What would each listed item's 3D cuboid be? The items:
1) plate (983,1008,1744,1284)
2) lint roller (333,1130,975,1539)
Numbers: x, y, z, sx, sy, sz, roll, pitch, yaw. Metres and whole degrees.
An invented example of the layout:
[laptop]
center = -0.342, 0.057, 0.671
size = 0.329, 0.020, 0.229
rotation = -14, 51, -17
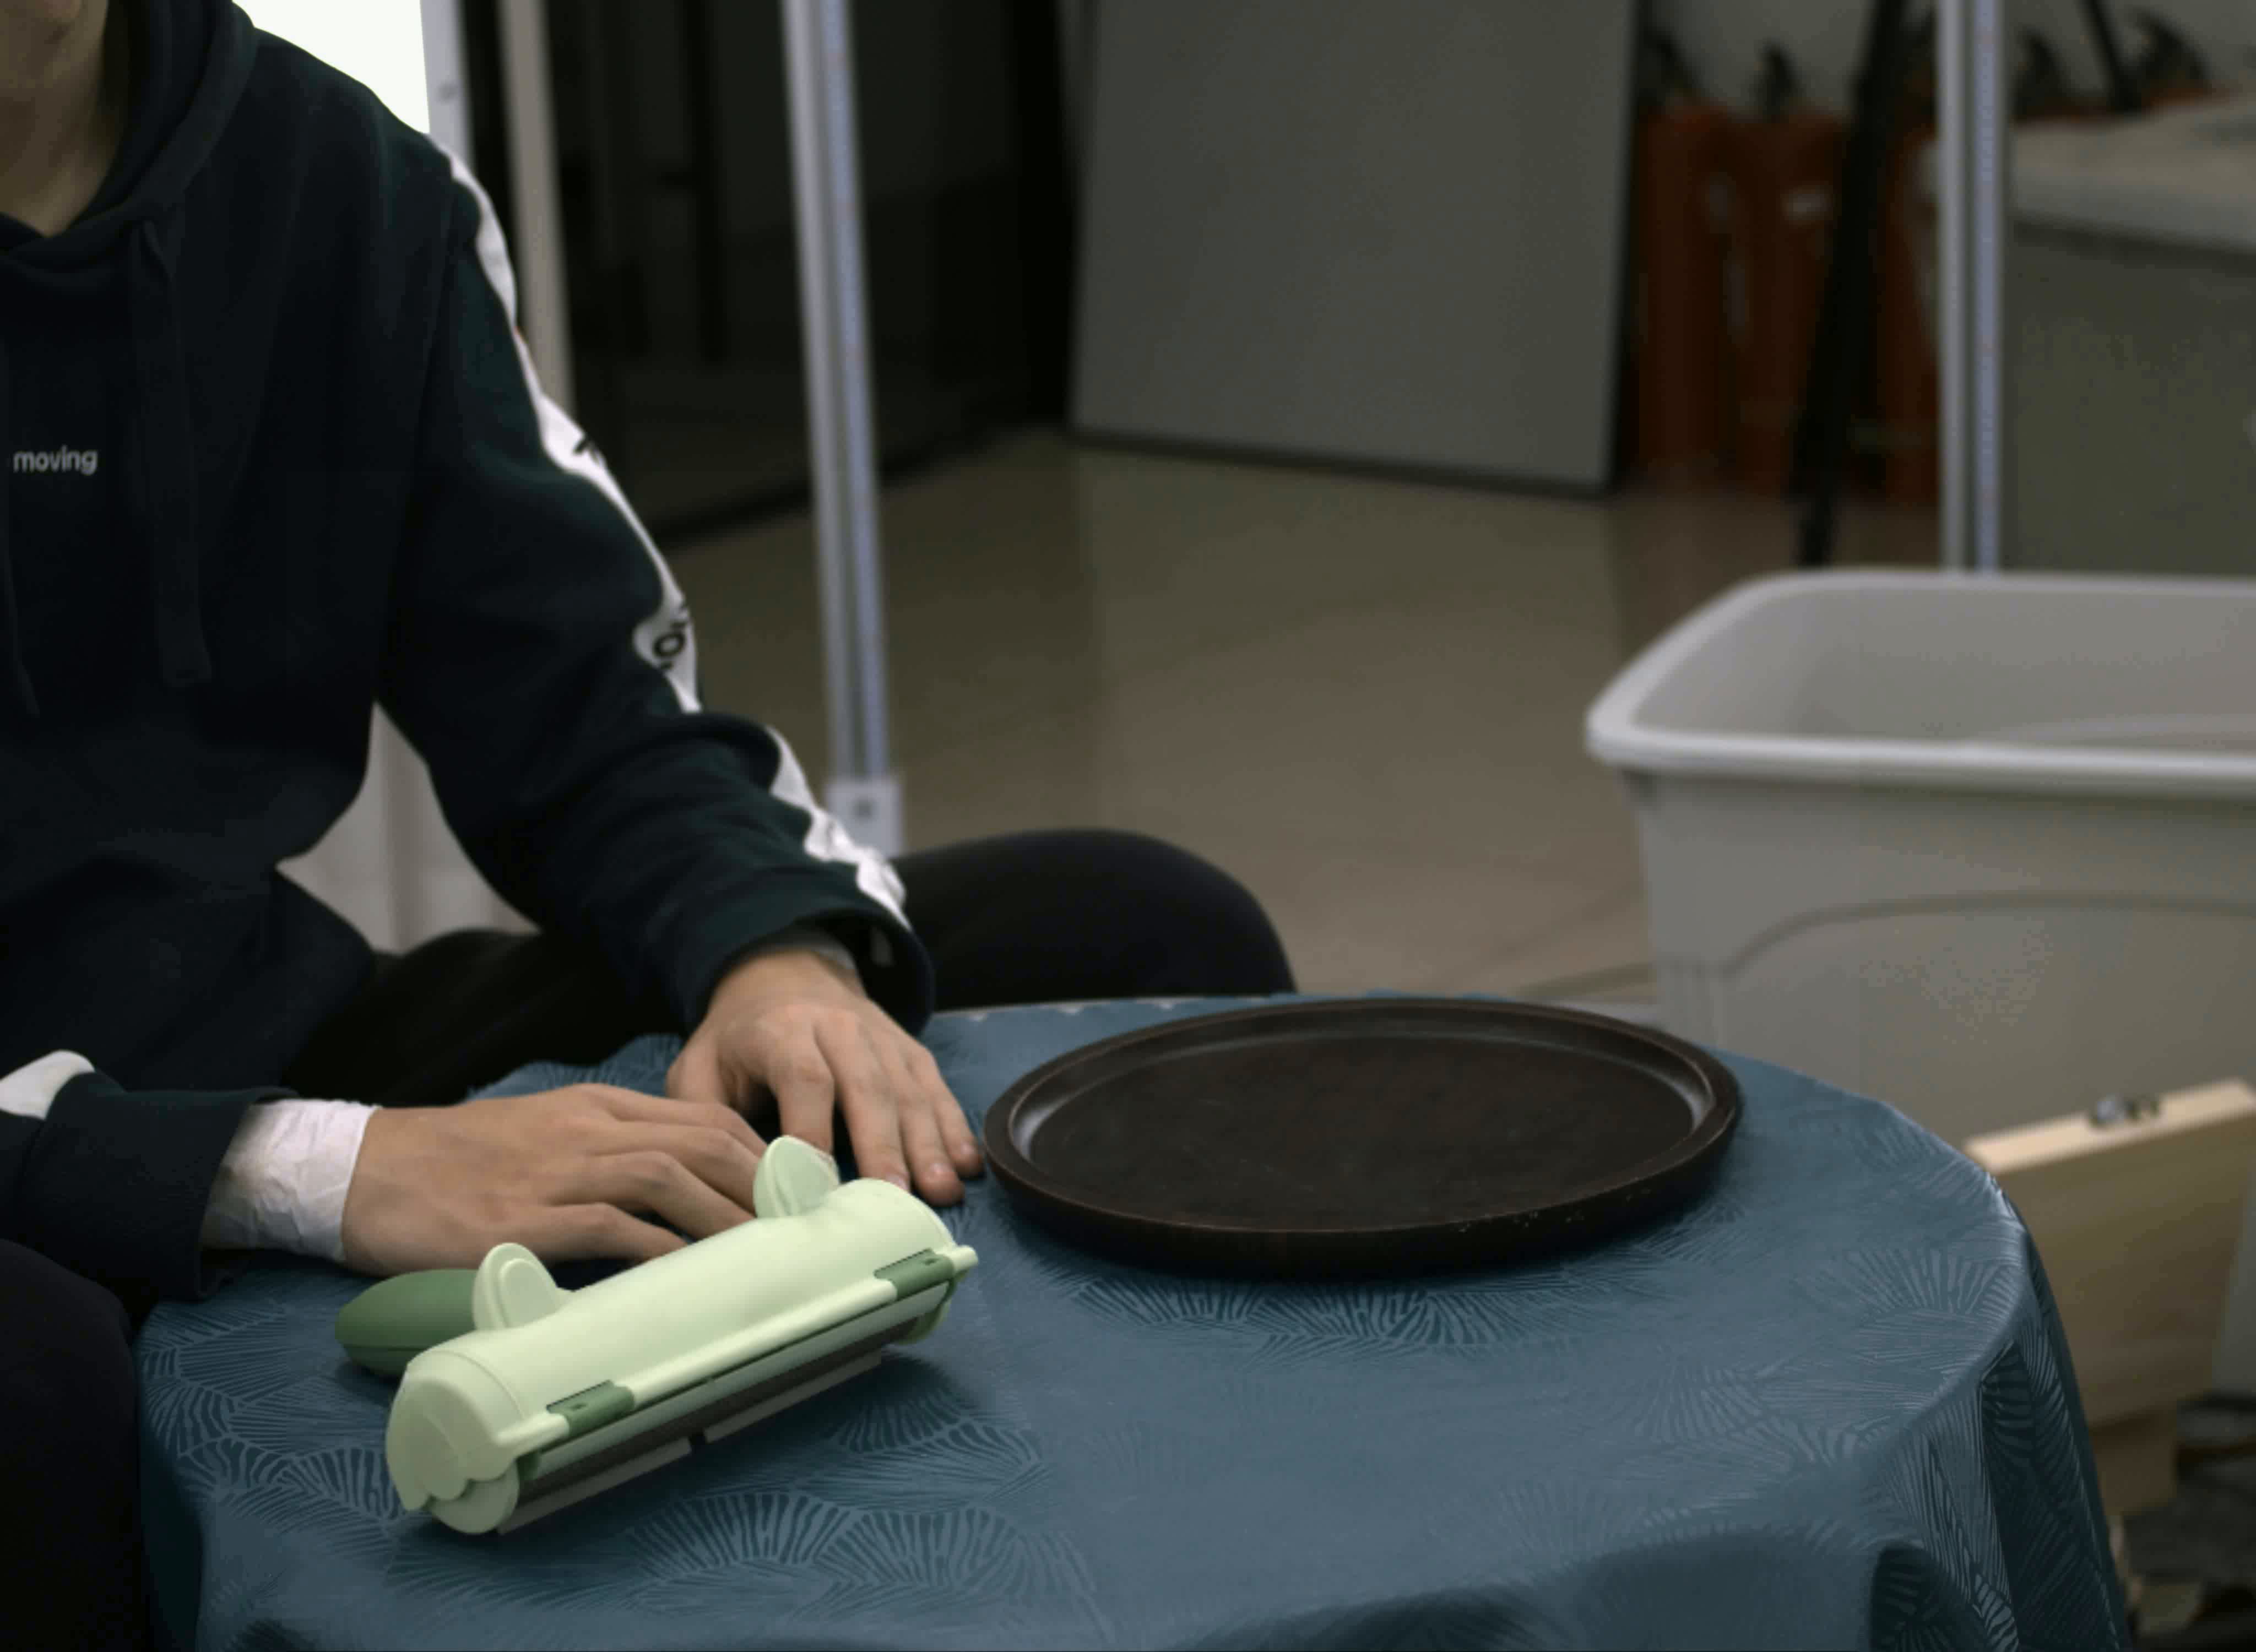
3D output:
[plate]
center = 0.078, 0.102, 1.774
size = 0.251, 0.029, 0.255
rotation = -4, 15, 0
[lint roller]
center = -0.172, 0.136, 1.595
size = 0.185, 0.083, 0.195
rotation = 12, 21, 39
